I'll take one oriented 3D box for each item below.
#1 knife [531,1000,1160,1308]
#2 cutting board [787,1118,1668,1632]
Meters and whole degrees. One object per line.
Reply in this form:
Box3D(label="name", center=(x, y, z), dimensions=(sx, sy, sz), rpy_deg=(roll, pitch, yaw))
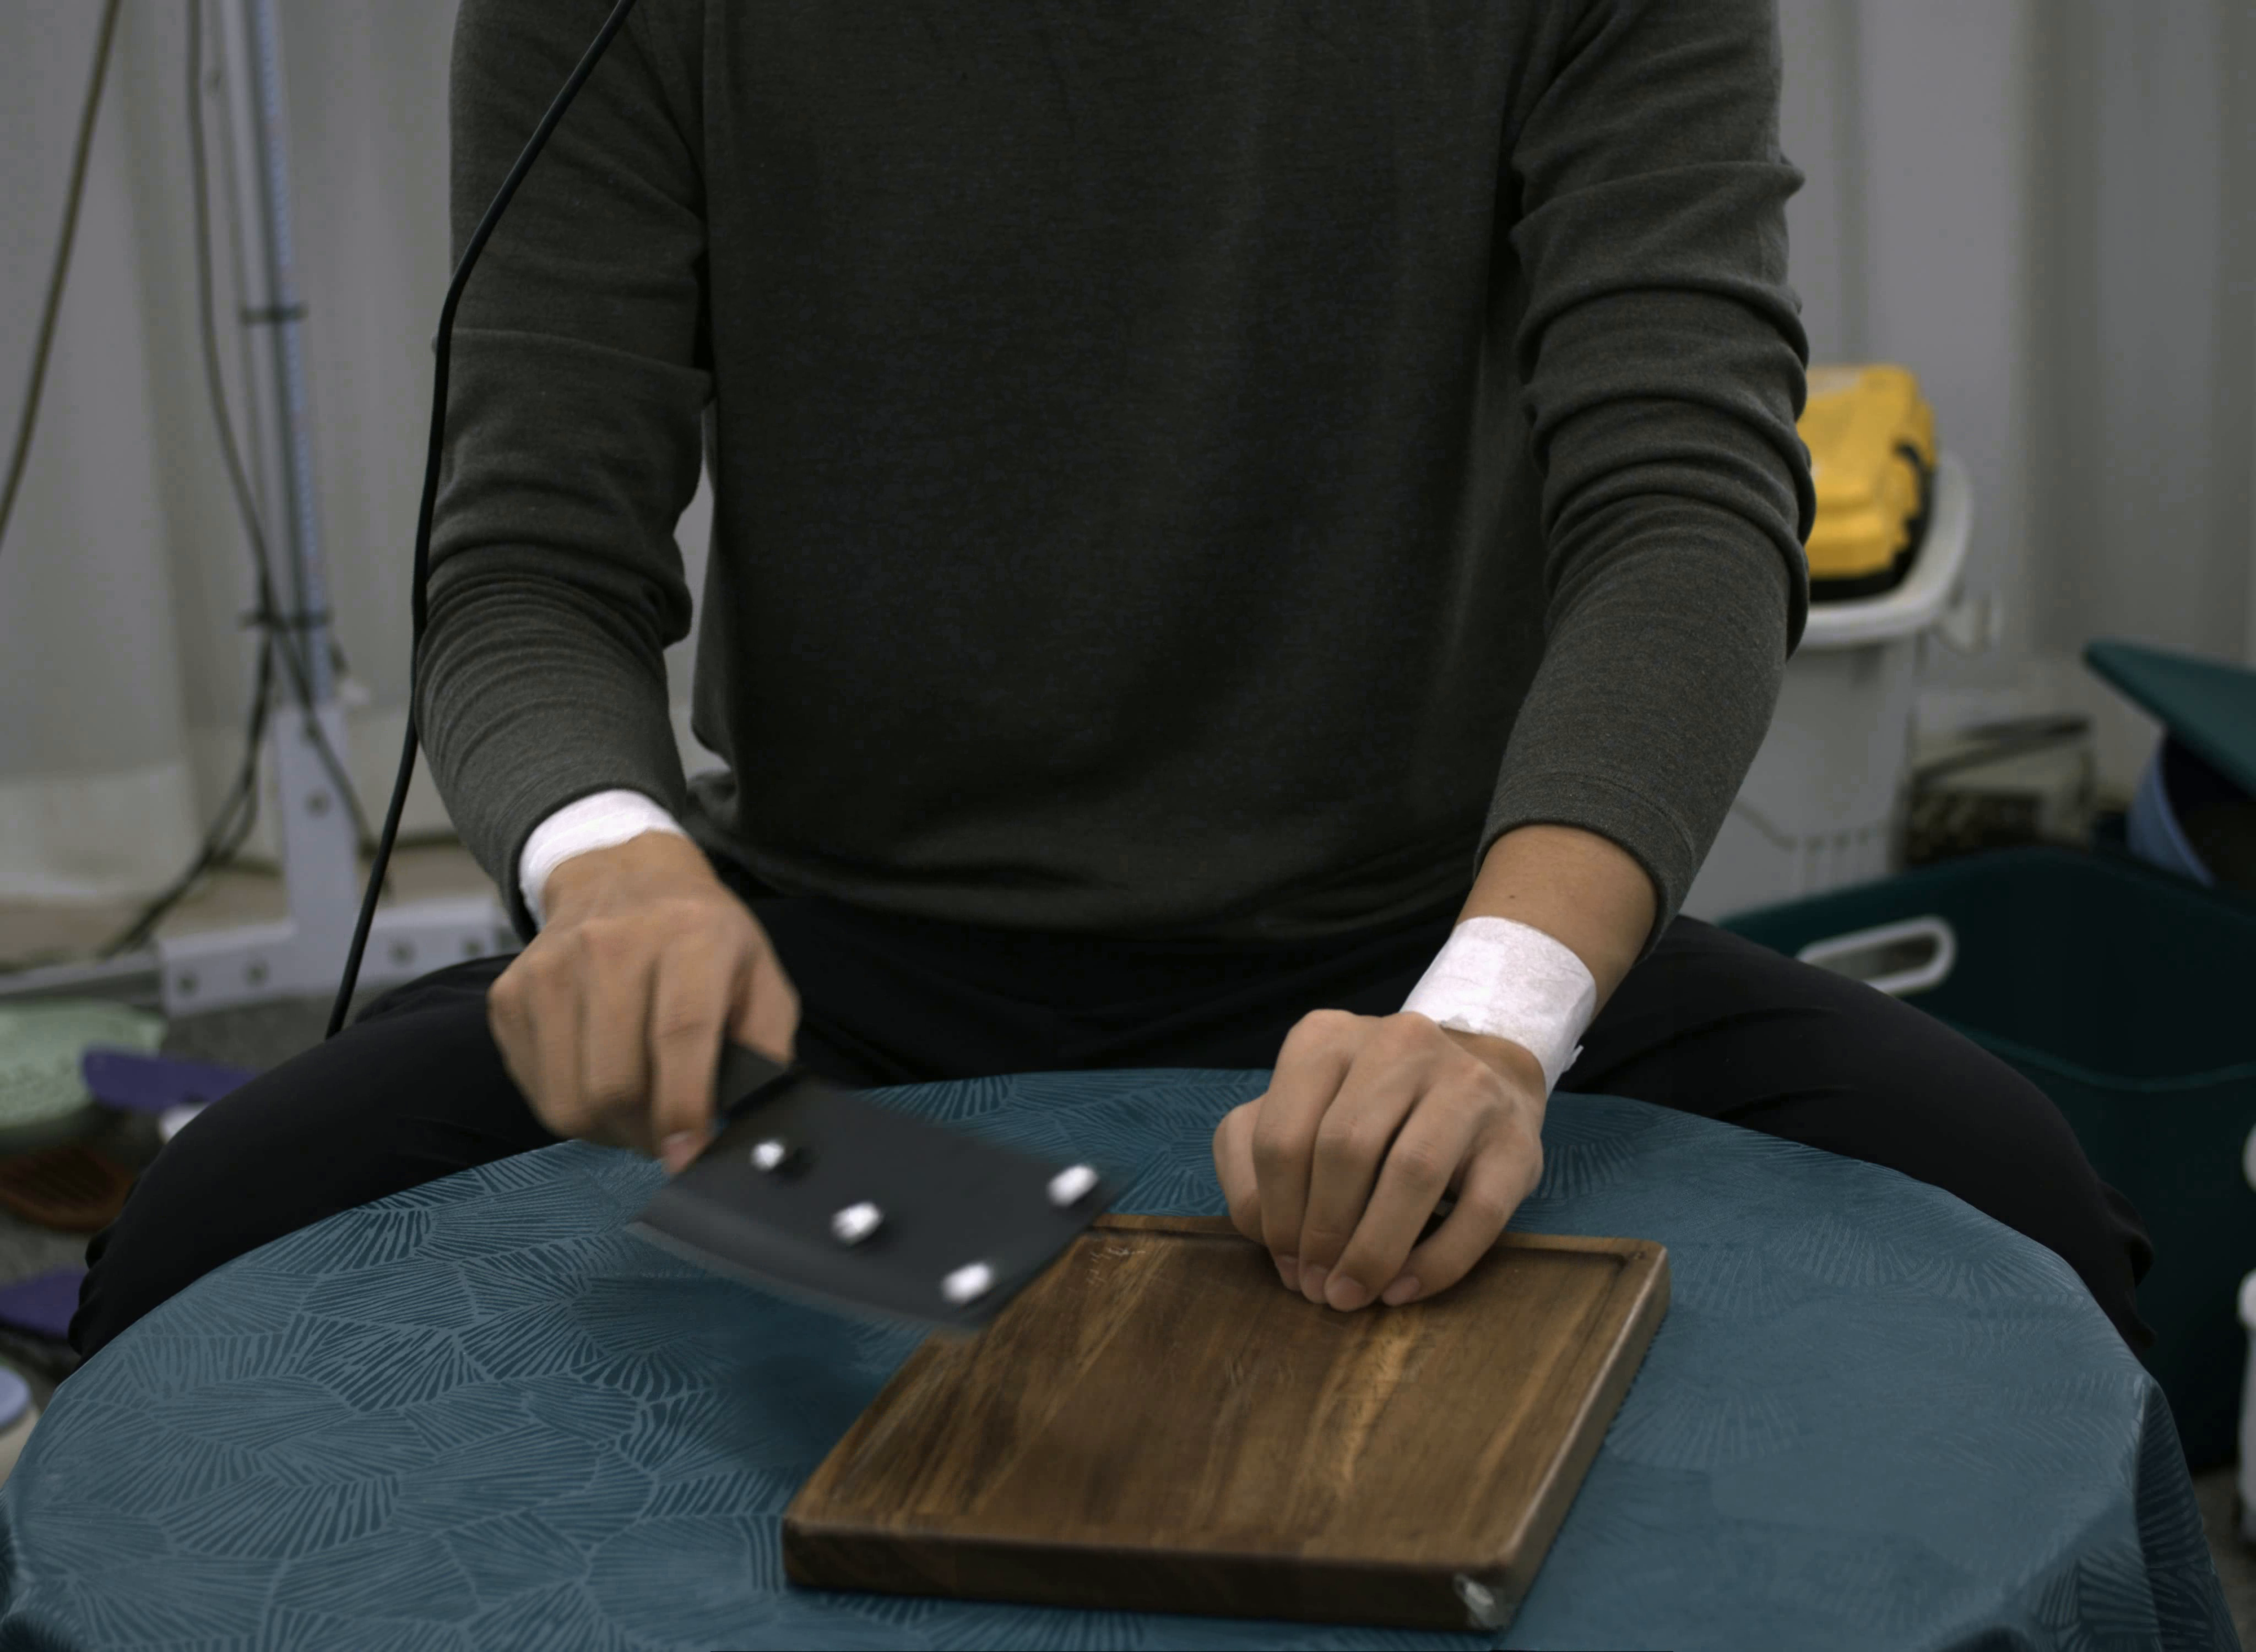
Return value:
Box3D(label="knife", center=(-0.093, 0.089, 1.547), dimensions=(0.081, 0.020, 0.304), rpy_deg=(-45, 28, -18))
Box3D(label="cutting board", center=(0.046, 0.146, 1.549), dimensions=(0.201, 0.023, 0.353), rpy_deg=(1, 15, 15))
